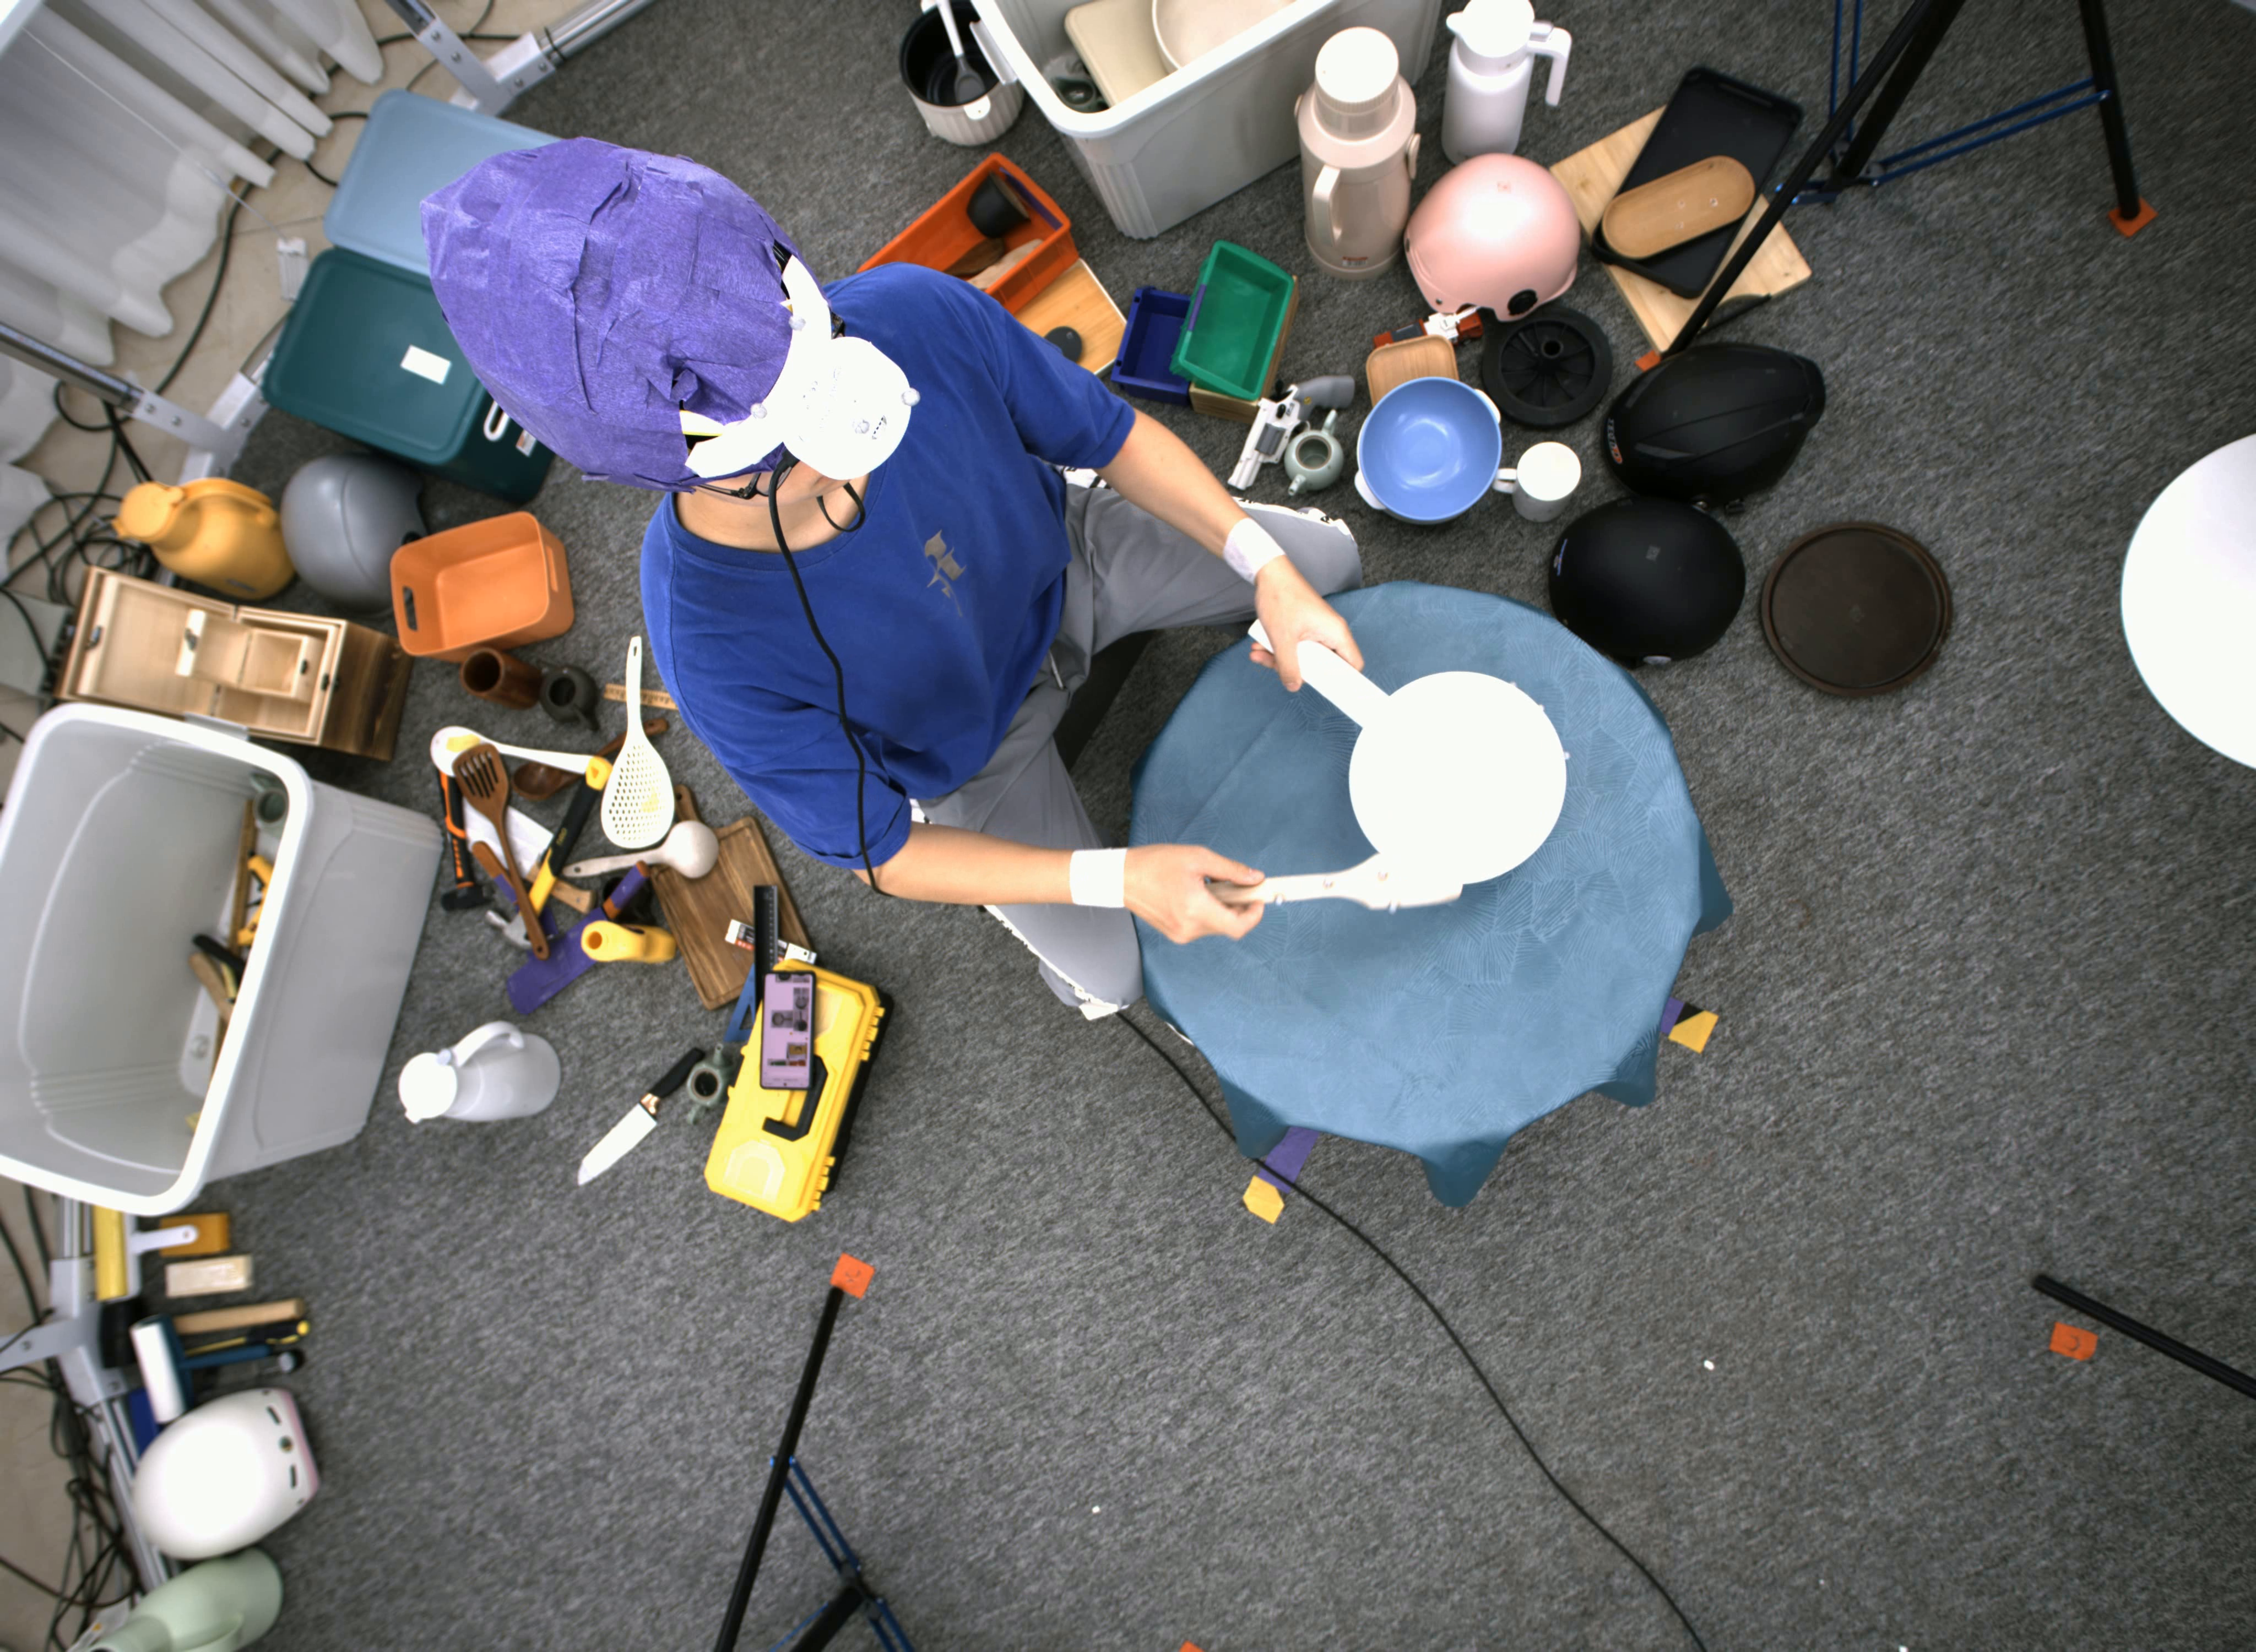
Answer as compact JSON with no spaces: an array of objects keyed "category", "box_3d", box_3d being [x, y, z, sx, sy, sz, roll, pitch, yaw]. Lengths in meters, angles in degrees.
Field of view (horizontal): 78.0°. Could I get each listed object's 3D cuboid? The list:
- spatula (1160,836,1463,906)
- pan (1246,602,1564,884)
[{"category":"spatula","box_3d":[0.166,0.051,1.294,0.295,0.070,0.011,-8,128,22]},{"category":"pan","box_3d":[0.269,-0.096,1.362,0.352,0.101,0.204,42,108,15]}]
